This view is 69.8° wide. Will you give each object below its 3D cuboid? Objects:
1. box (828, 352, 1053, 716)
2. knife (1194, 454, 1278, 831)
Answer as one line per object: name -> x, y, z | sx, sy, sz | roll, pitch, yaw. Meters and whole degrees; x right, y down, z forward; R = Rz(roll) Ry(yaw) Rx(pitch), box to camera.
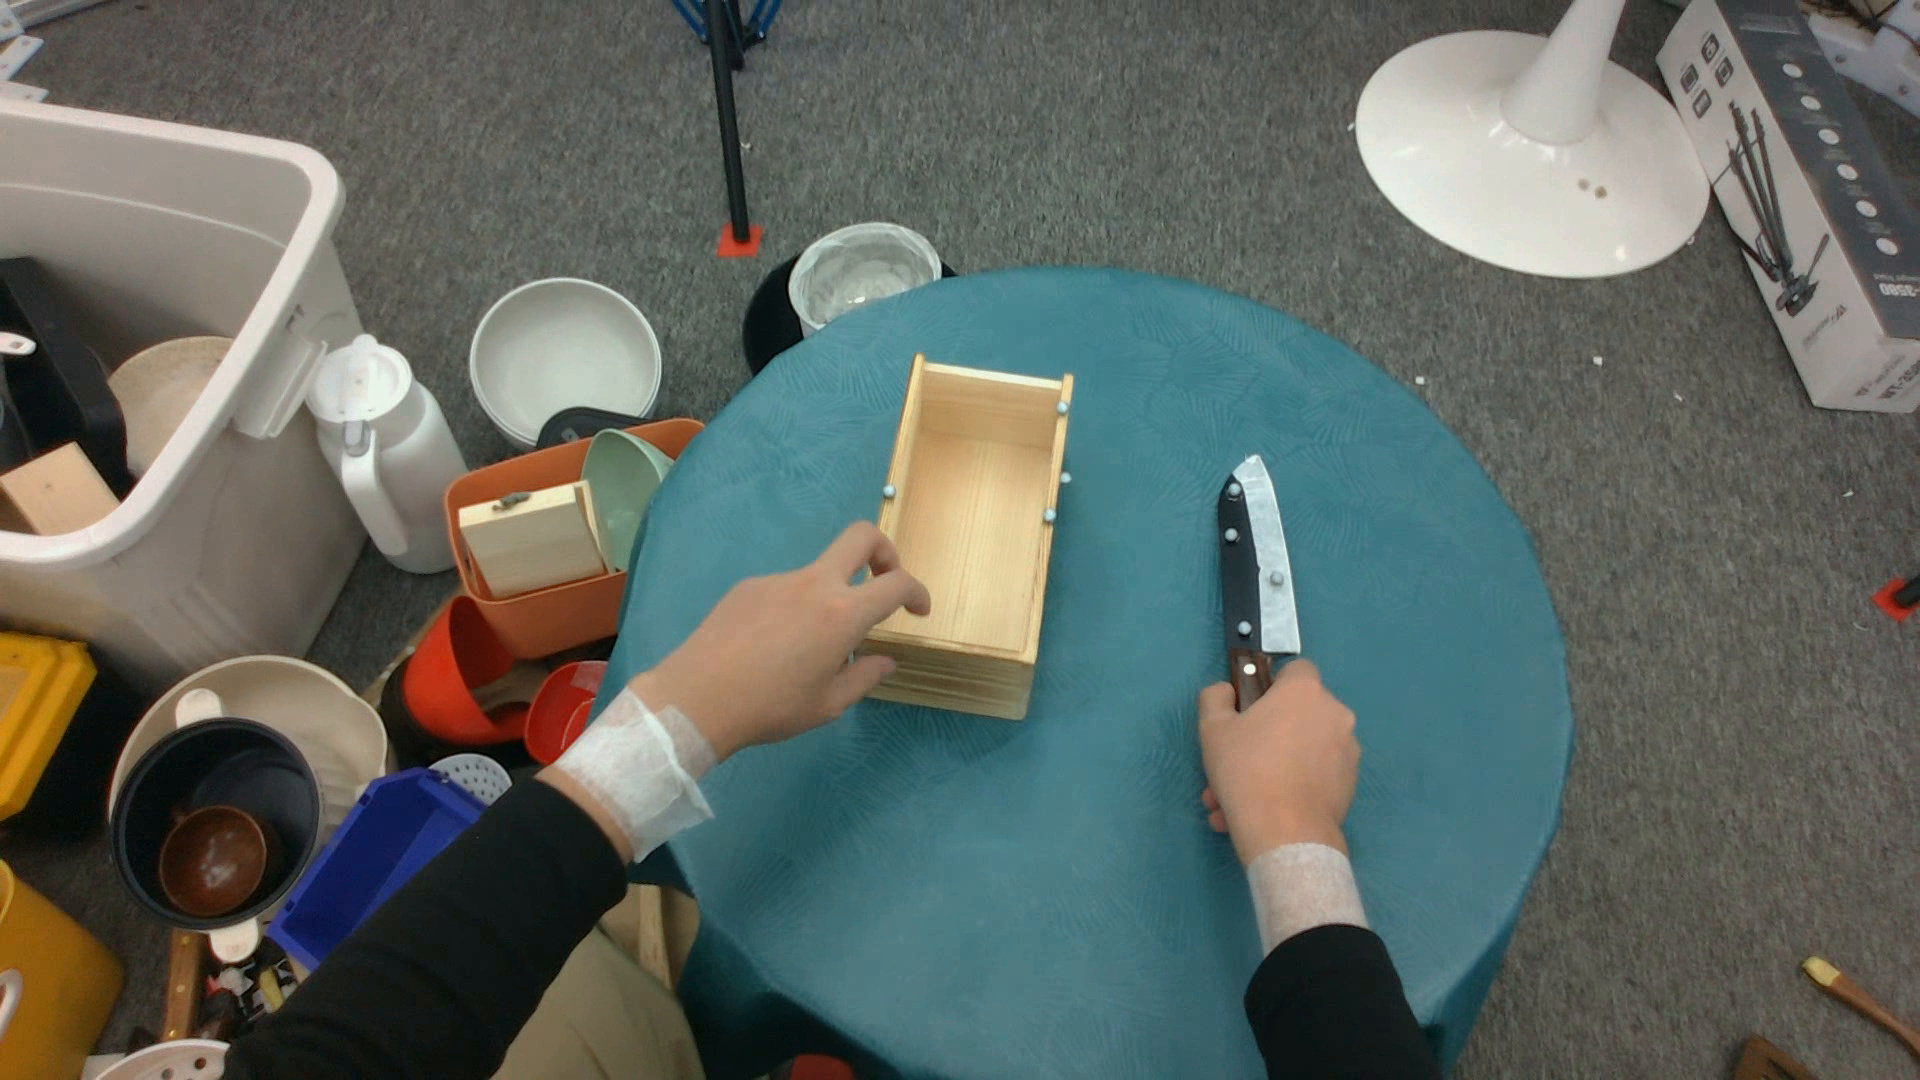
box -> -0.009, -0.007, 0.863 | 0.107, 0.080, 0.212 | 8, 57, 2
knife -> 0.173, 0.051, 0.863 | 0.050, 0.020, 0.290 | 2, 50, 6
